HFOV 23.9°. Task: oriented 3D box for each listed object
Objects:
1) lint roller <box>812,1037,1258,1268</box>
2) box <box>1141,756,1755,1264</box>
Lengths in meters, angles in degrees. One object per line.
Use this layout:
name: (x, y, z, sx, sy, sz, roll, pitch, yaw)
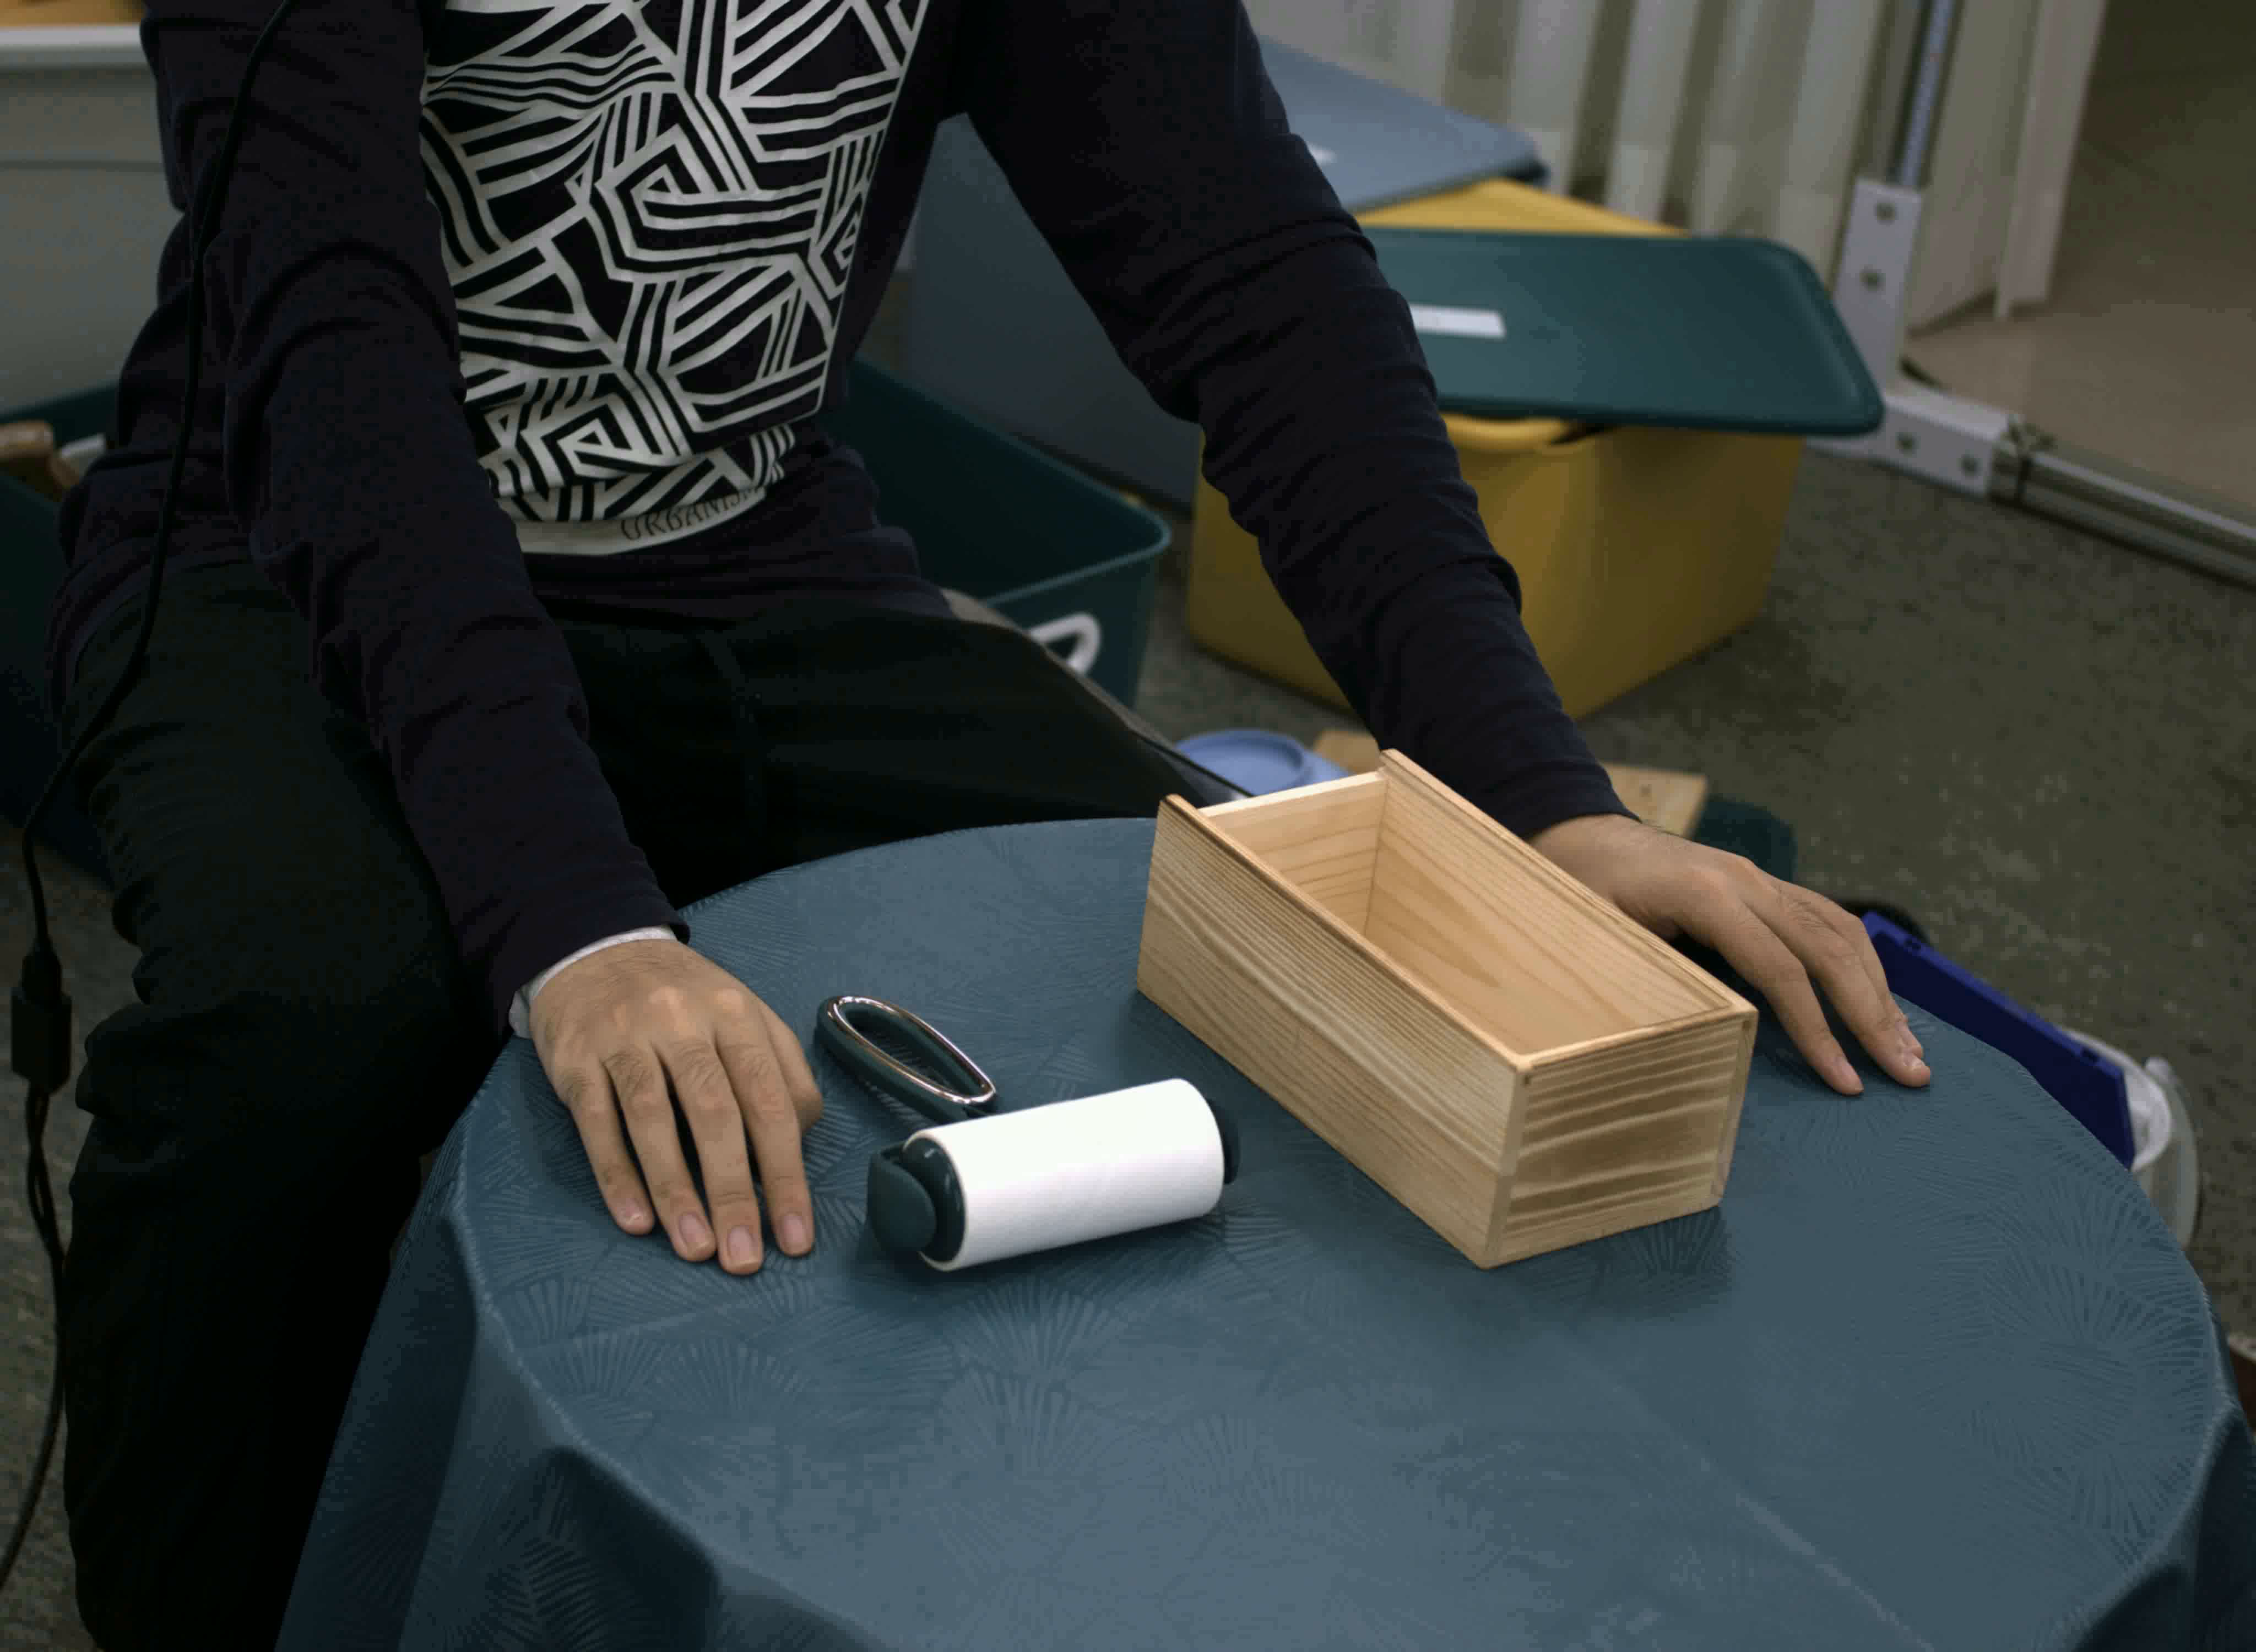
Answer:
lint roller: (-0.057, 0.091, 1.817, 0.133, 0.048, 0.181, -10, 26, -29)
box: (0.109, 0.061, 1.866, 0.107, 0.080, 0.213, -13, 31, -32)
